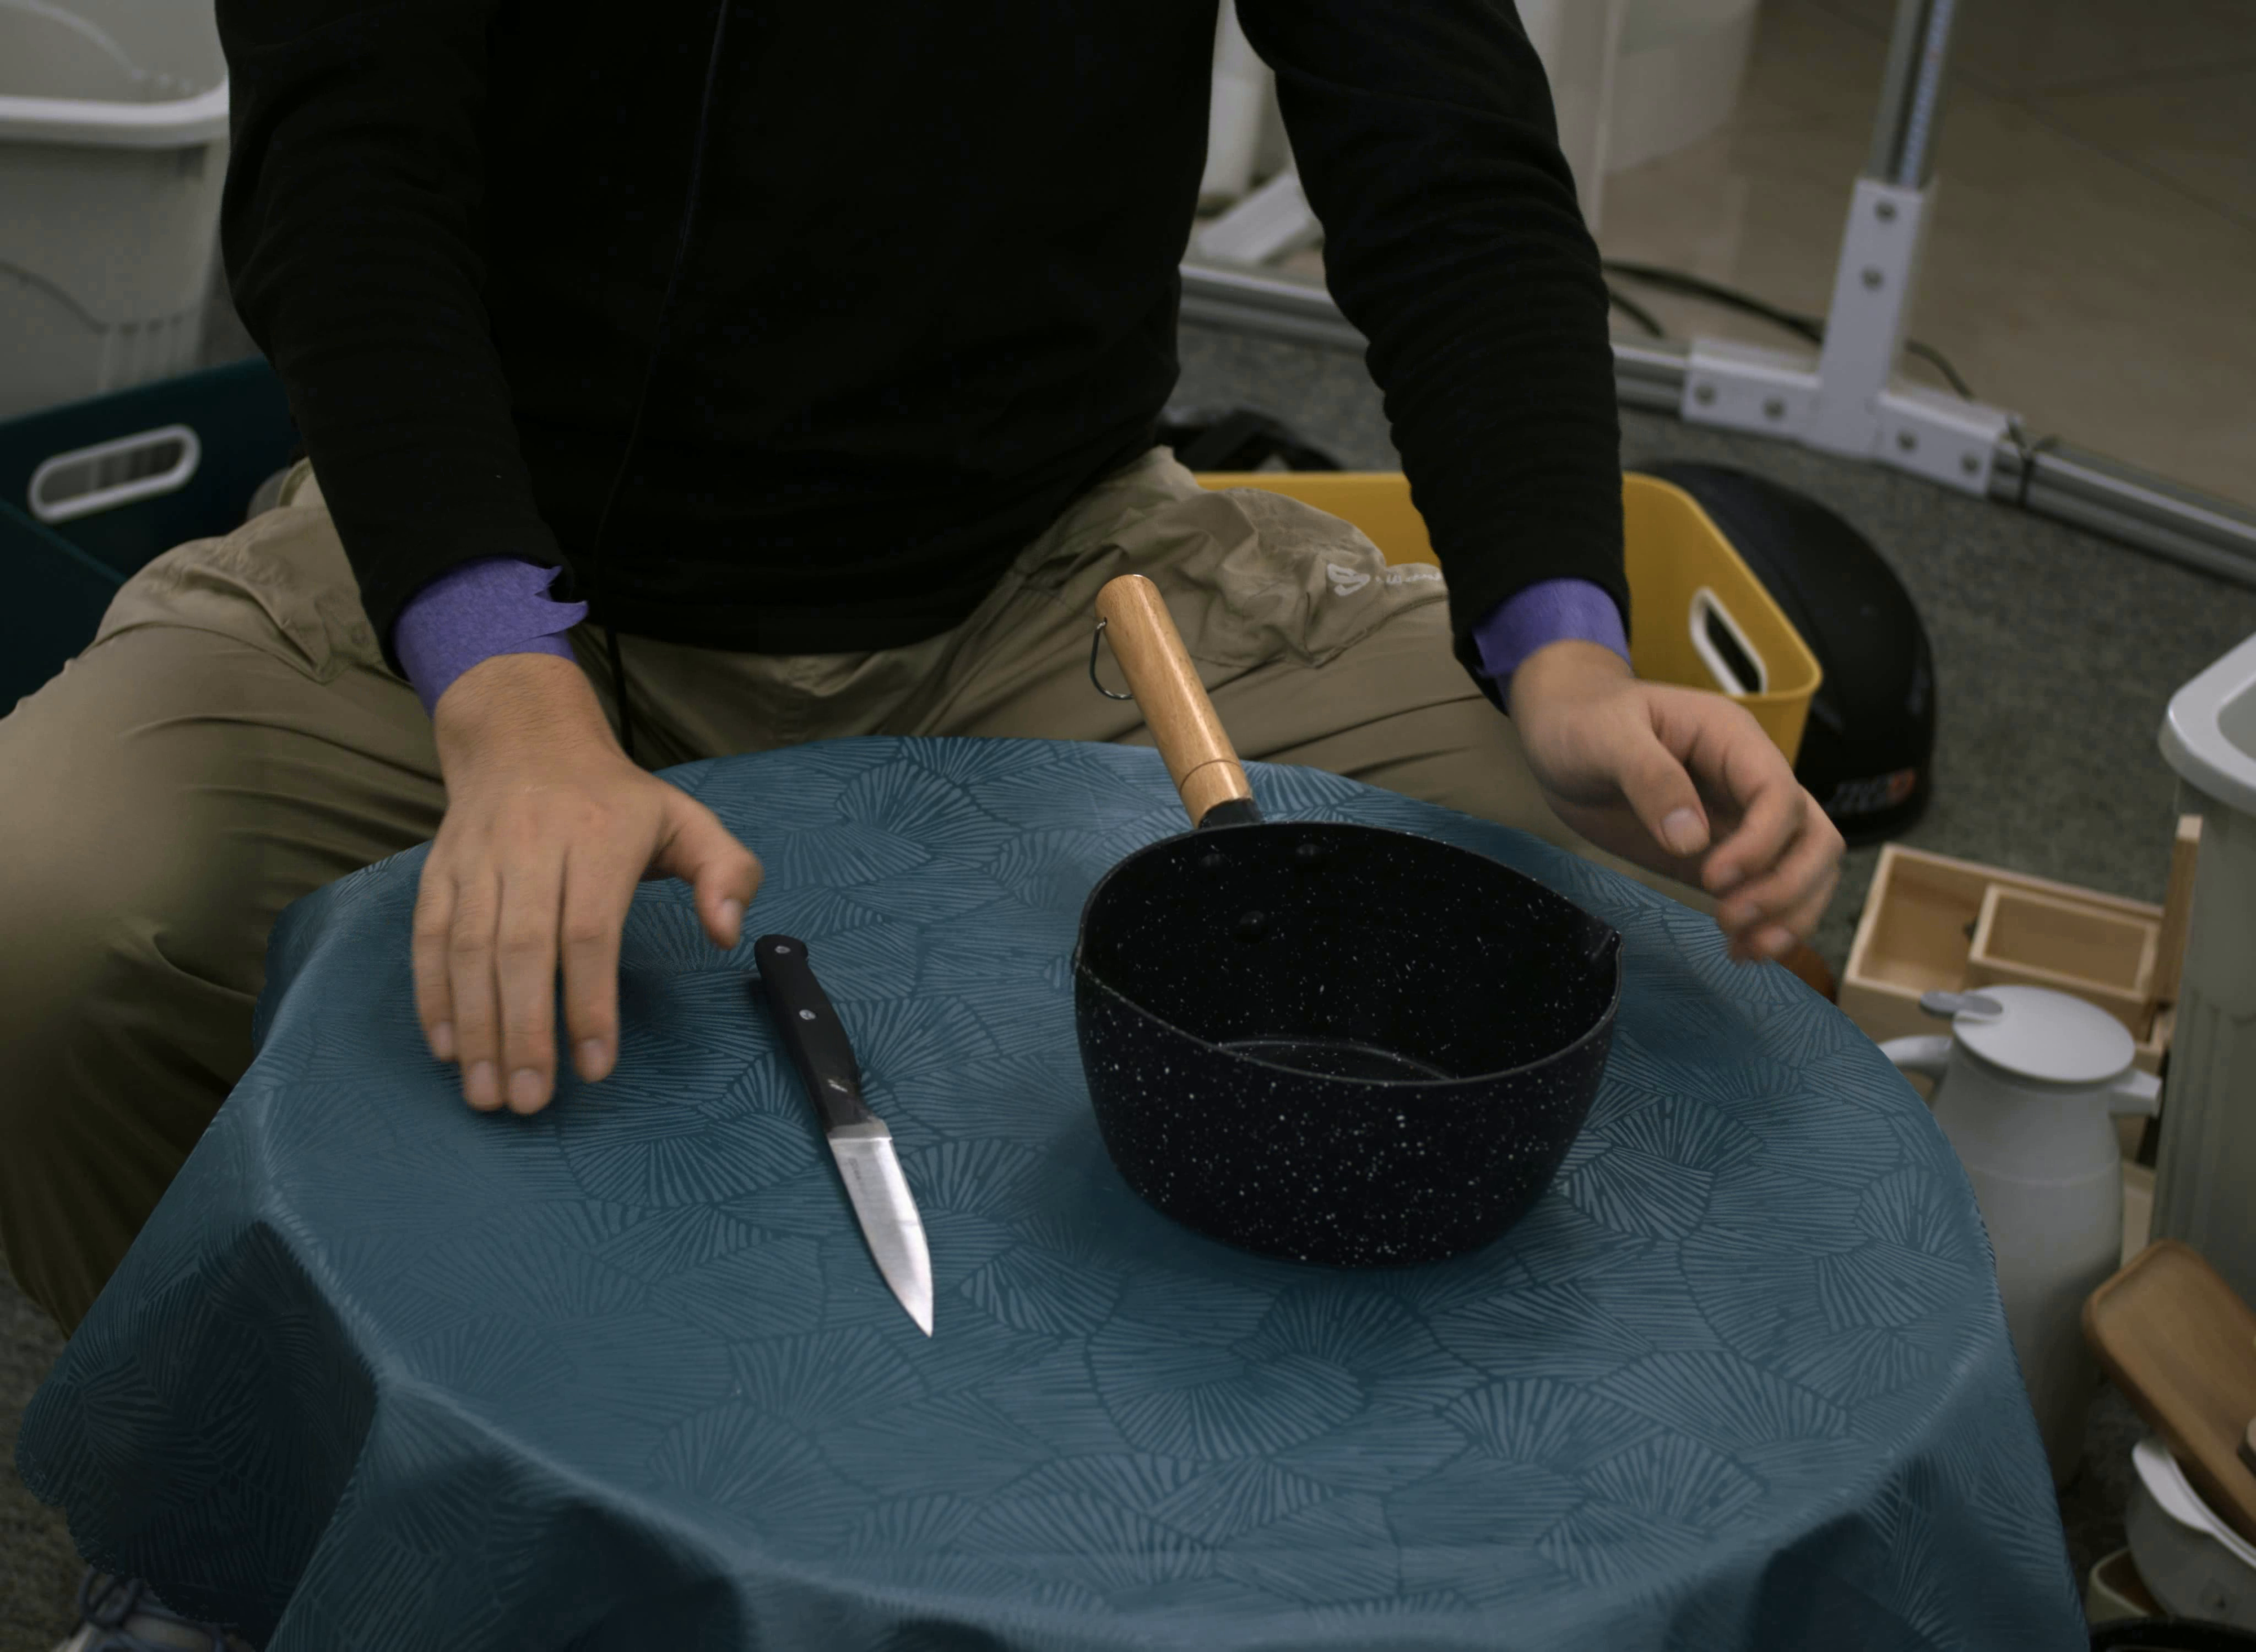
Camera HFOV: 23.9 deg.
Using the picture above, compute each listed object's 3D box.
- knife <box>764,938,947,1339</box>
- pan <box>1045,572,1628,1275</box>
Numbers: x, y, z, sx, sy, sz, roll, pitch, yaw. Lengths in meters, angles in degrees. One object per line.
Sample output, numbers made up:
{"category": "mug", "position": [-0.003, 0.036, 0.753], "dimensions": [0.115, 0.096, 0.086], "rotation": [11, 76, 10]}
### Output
{"category": "knife", "position": [-0.094, 0.105, 1.809], "dimensions": [0.024, 0.016, 0.240], "rotation": [-1, 30, -17]}
{"category": "pan", "position": [0.046, 0.031, 1.881], "dimensions": [0.206, 0.108, 0.346], "rotation": [-4, 30, -19]}
